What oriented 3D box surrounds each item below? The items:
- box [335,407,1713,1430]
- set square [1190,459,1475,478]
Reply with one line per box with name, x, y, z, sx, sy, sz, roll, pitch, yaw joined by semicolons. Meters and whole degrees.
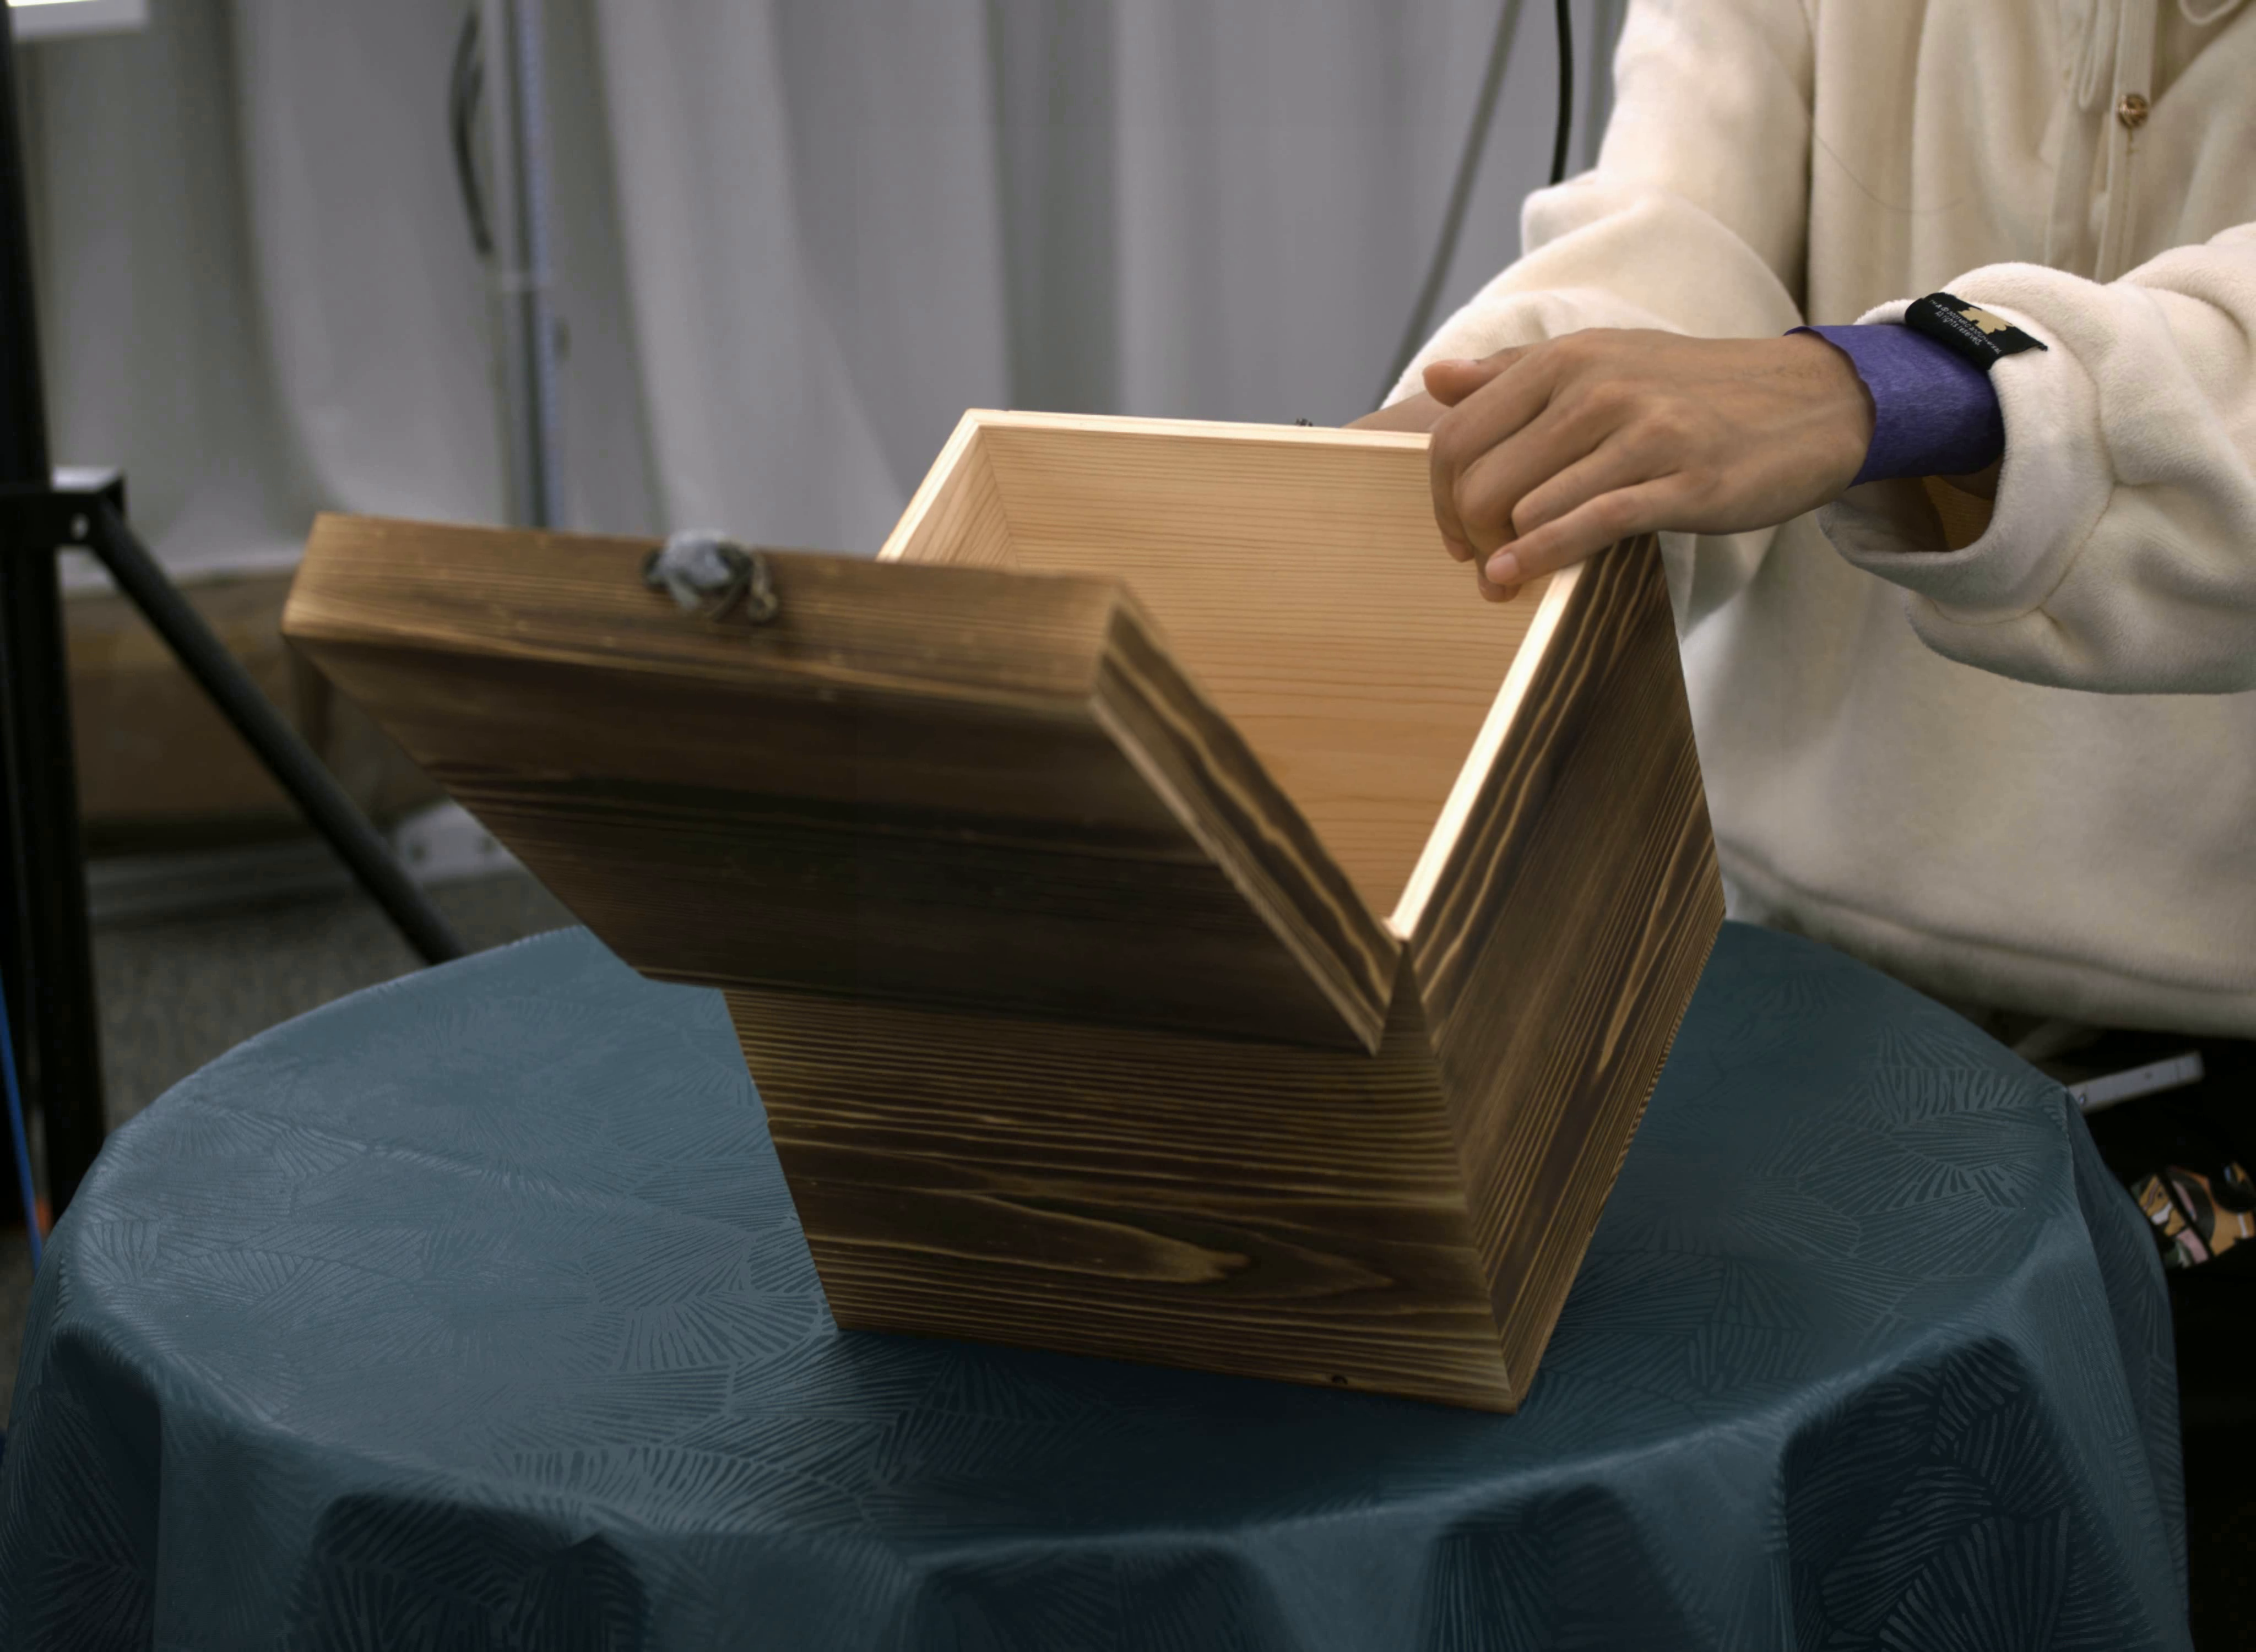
box;-0.006;-0.021;1.344;0.212;0.371;0.321;5;42;24
set square;0.048;-0.093;1.500;0.134;0.006;0.060;3;-18;30
